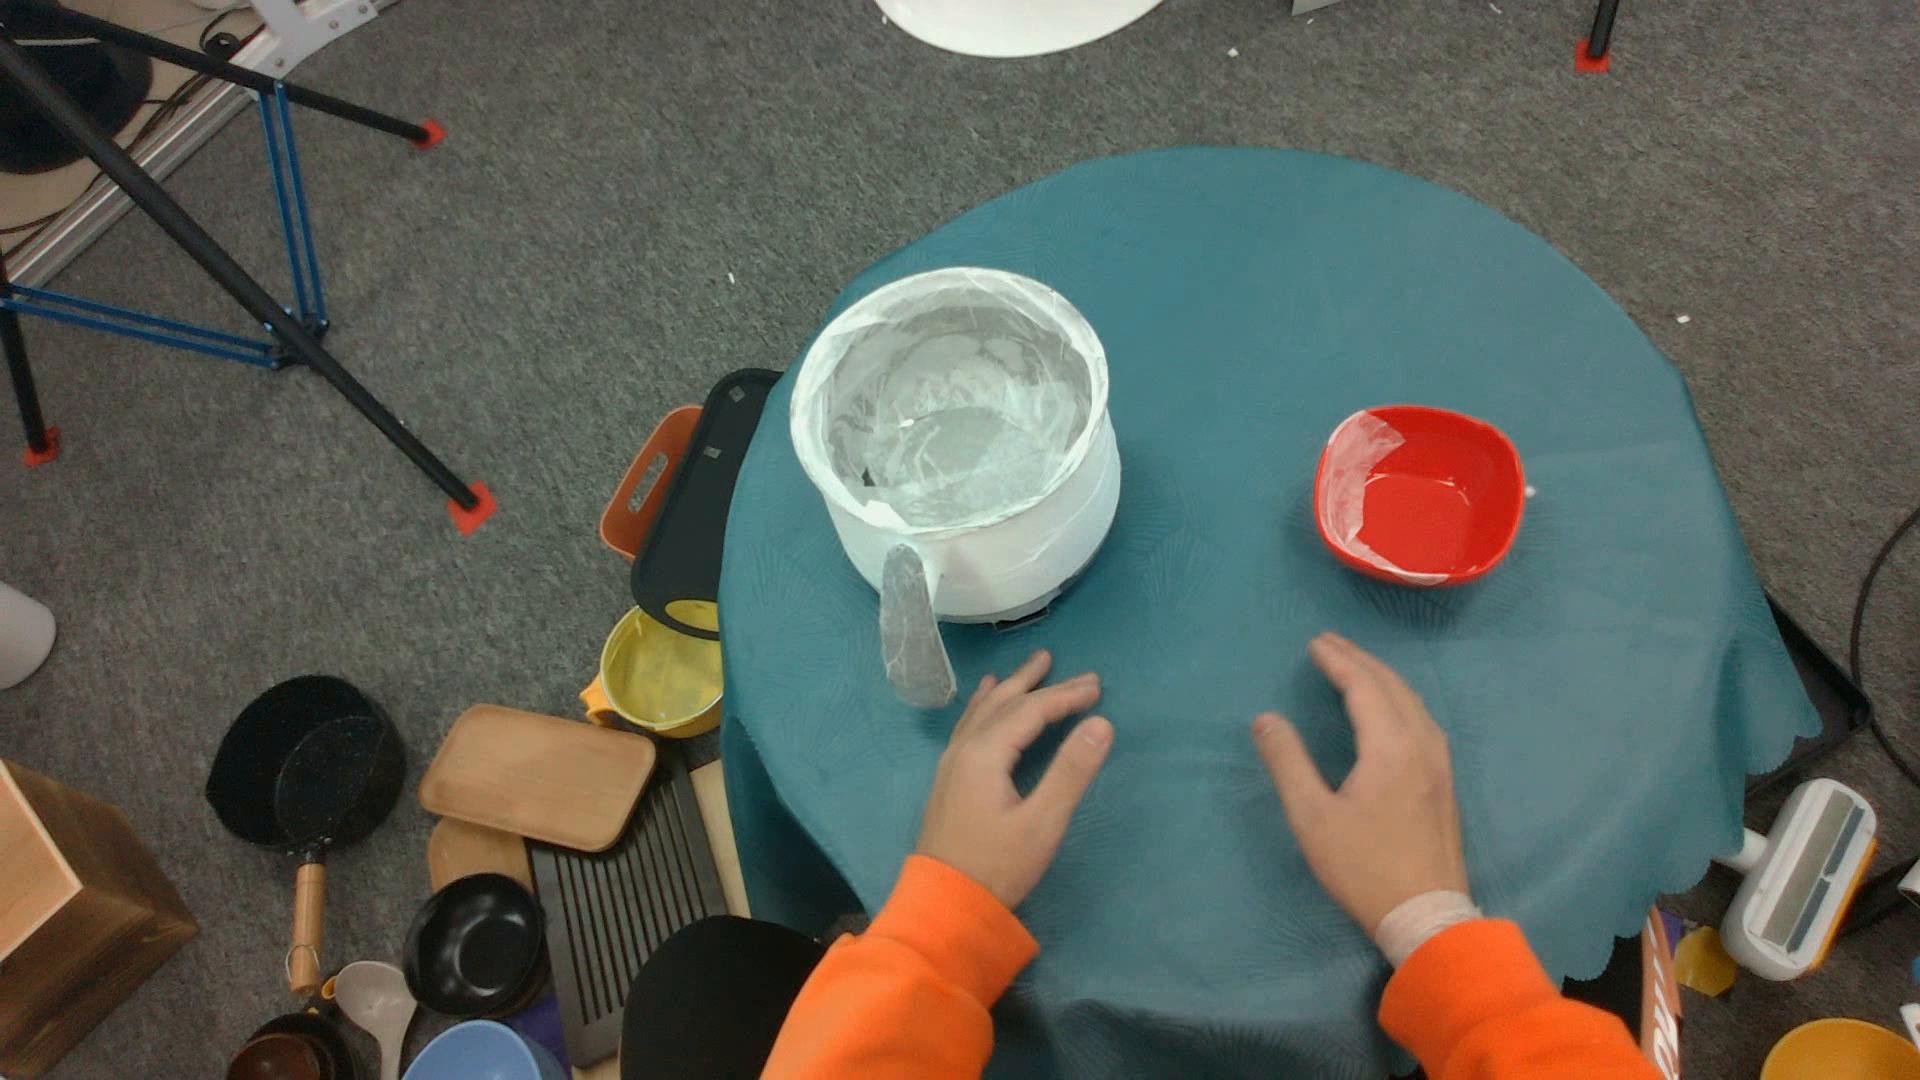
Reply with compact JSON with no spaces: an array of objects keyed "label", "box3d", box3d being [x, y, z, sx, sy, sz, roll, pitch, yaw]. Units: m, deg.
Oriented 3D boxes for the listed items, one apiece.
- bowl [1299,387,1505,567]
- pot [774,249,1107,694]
[{"label":"bowl","box3d":[0.250,-0.028,0.789,0.119,0.051,0.119,-4,60,7]},{"label":"pot","box3d":[-0.010,-0.035,0.791,0.178,0.136,0.234,5,63,14]}]
